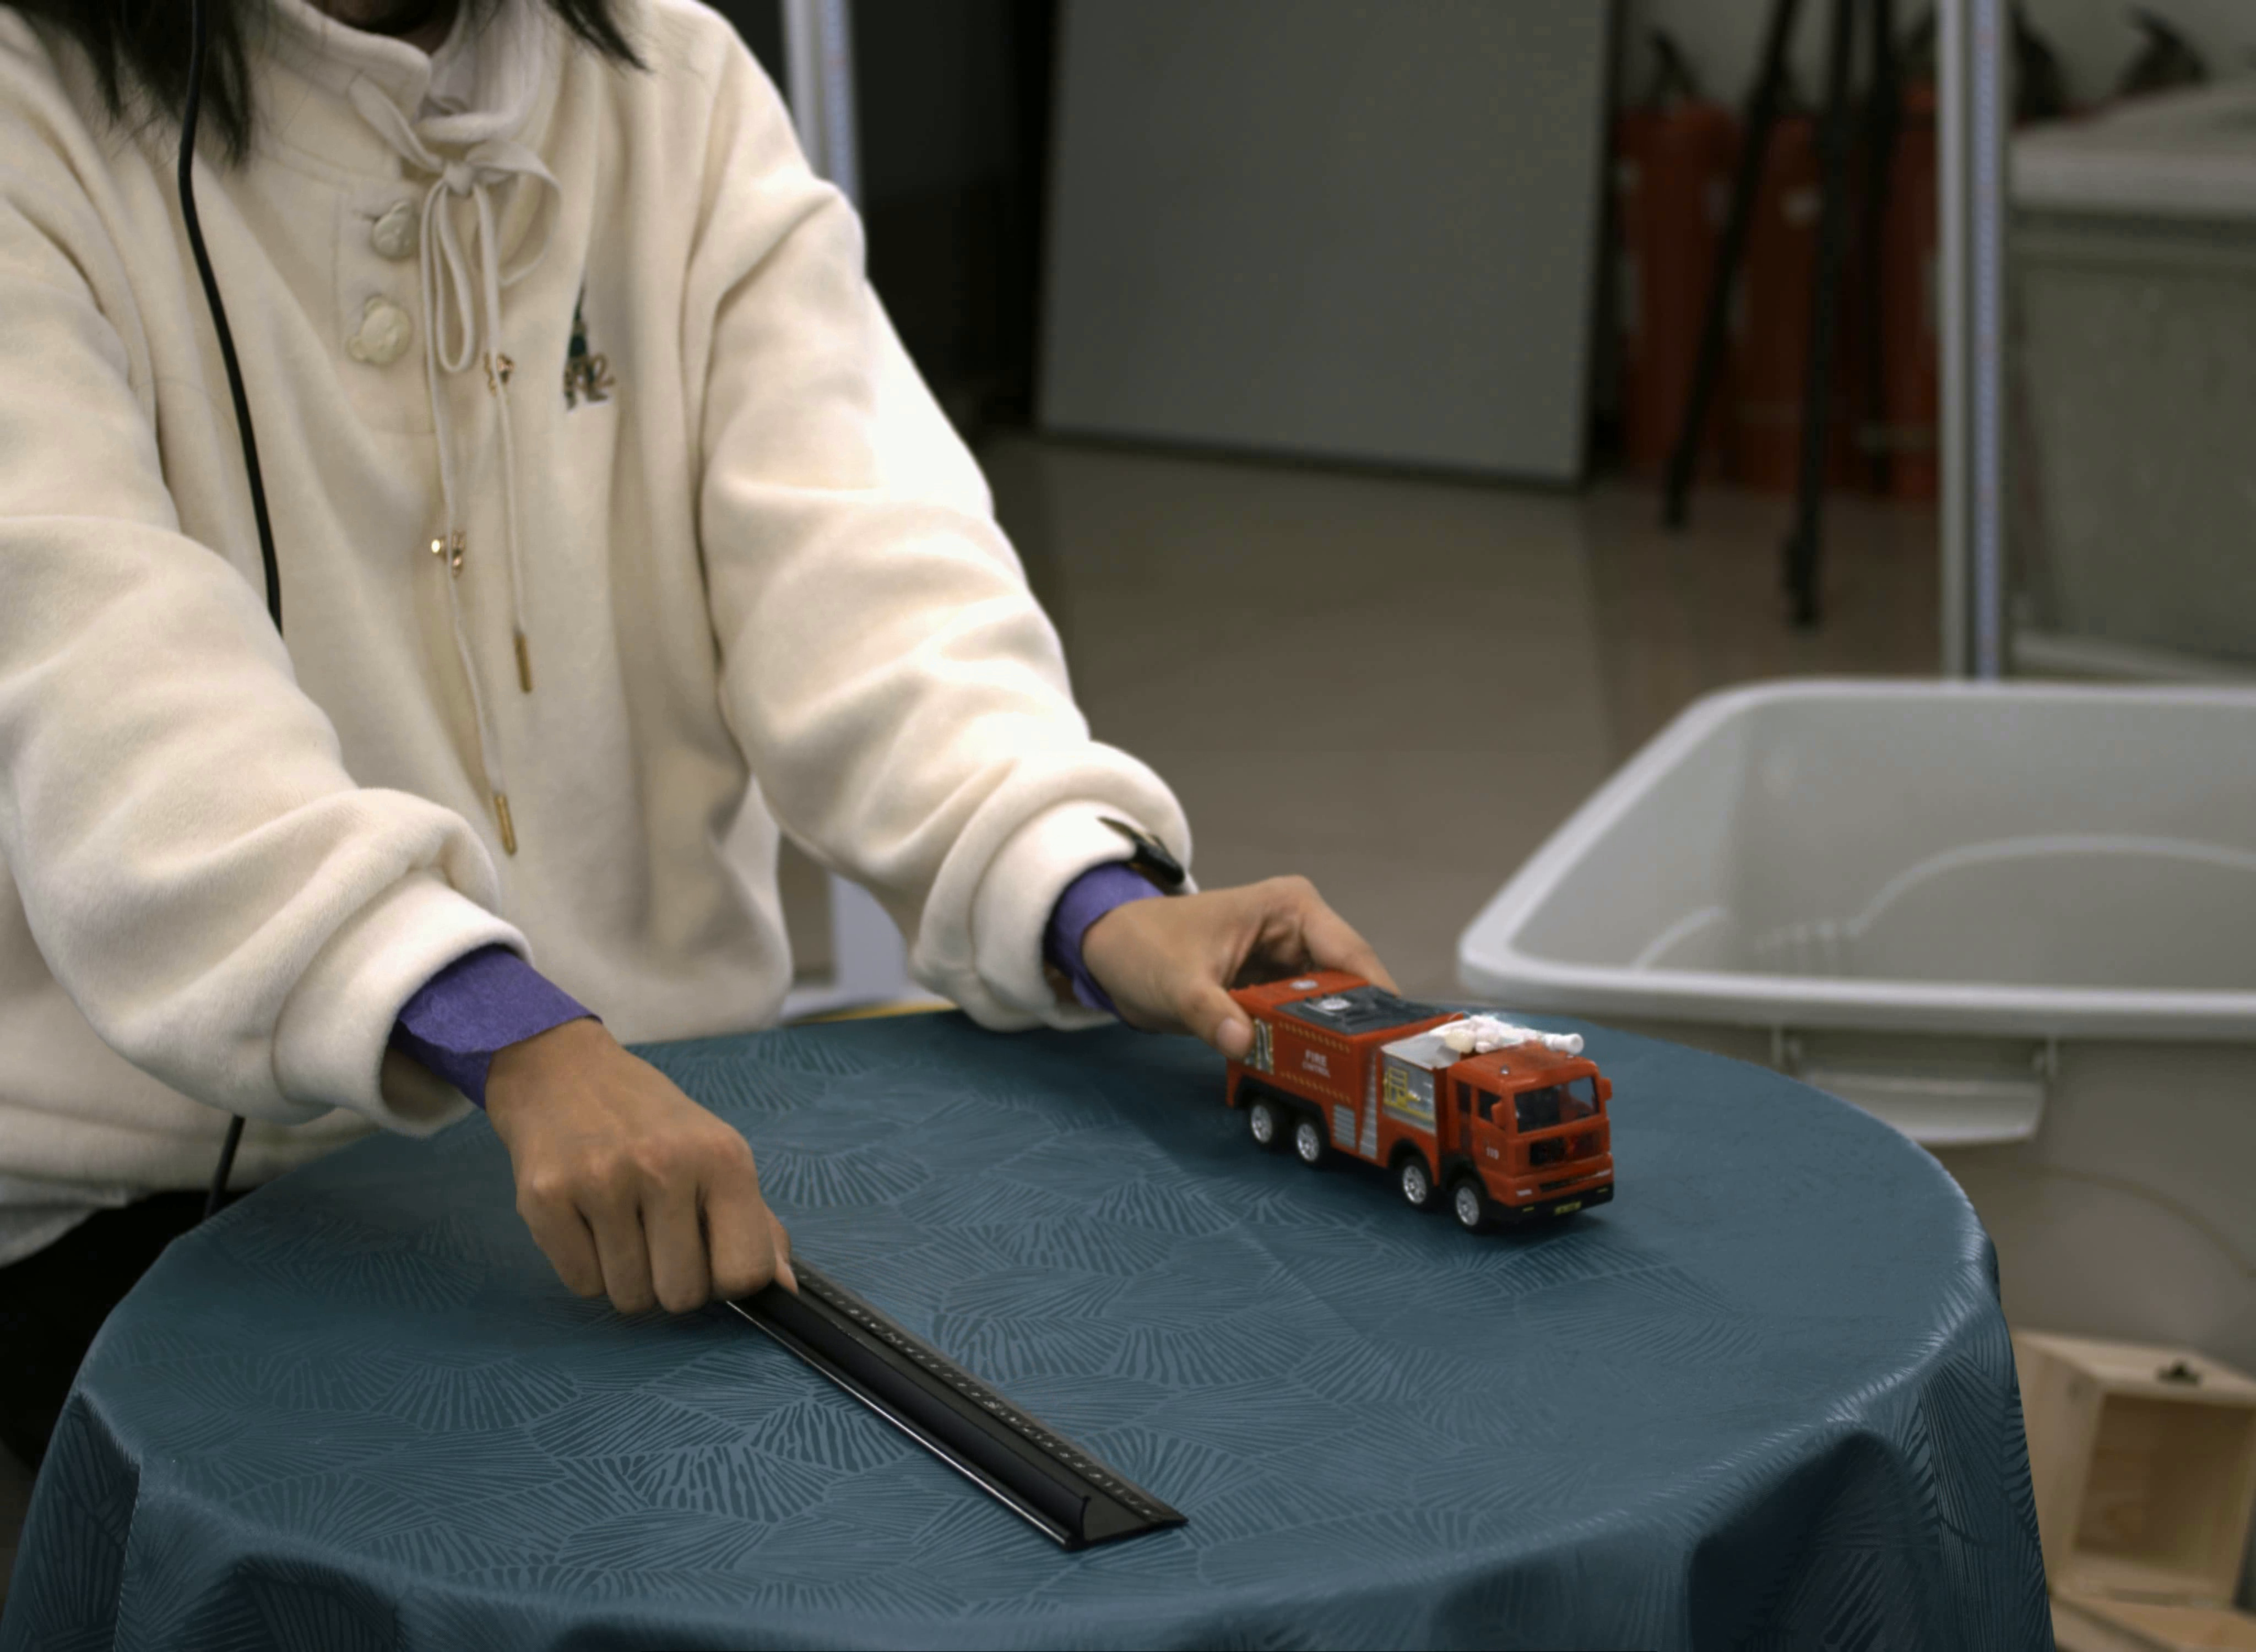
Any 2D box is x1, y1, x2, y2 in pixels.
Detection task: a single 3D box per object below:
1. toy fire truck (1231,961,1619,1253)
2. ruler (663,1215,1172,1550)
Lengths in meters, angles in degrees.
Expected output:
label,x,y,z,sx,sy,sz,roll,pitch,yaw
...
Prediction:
label,x,y,z,sx,sy,sz,roll,pitch,yaw
toy fire truck,0.095,0.088,1.753,0.053,0.071,0.170,-11,14,-31
ruler,-0.068,0.158,1.606,0.038,0.017,0.316,-7,13,-24
